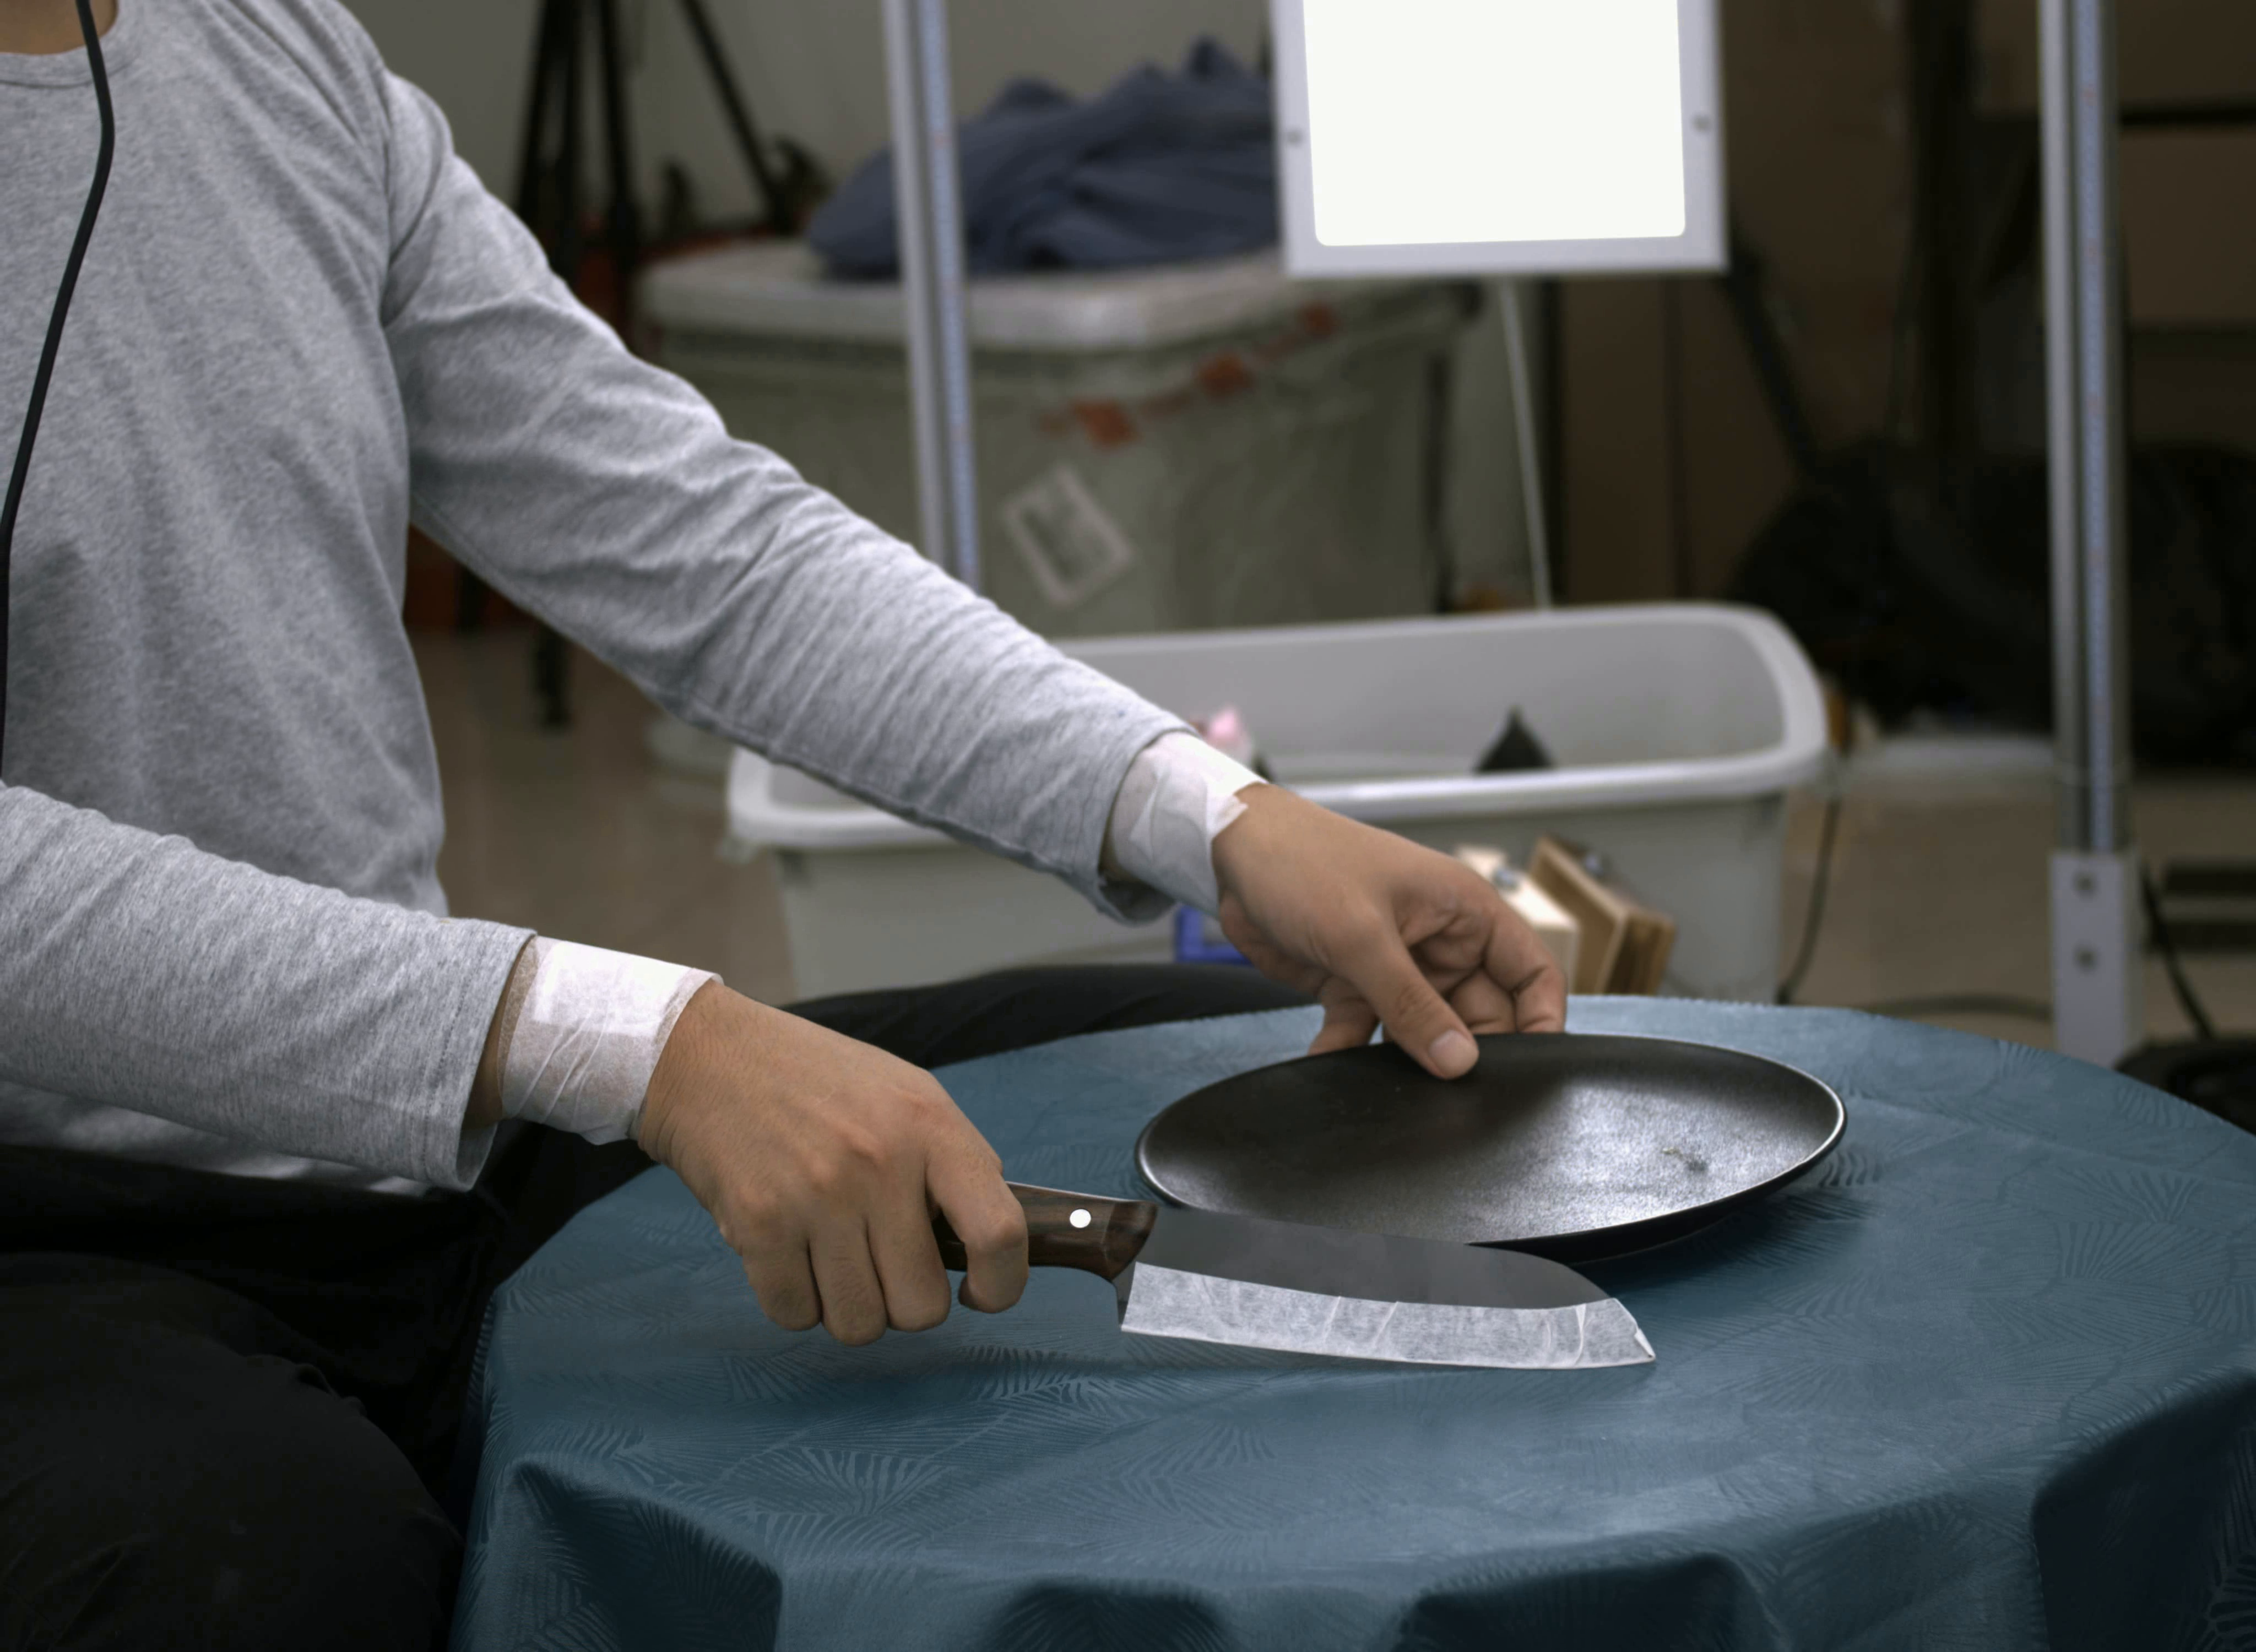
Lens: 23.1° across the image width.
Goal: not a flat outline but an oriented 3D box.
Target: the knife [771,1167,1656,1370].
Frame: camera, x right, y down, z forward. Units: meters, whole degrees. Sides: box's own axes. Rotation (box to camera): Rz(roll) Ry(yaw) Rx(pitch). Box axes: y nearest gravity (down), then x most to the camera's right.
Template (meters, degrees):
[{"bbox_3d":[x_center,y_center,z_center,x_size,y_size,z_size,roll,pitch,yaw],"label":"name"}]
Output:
[{"bbox_3d":[0.024,0.139,1.725,0.291,0.050,0.020,8,-26,15],"label":"knife"}]

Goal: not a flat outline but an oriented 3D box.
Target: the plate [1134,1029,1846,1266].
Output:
[{"bbox_3d":[0.123,0.112,1.867,0.244,0.023,0.244,-5,14,0],"label":"plate"}]
